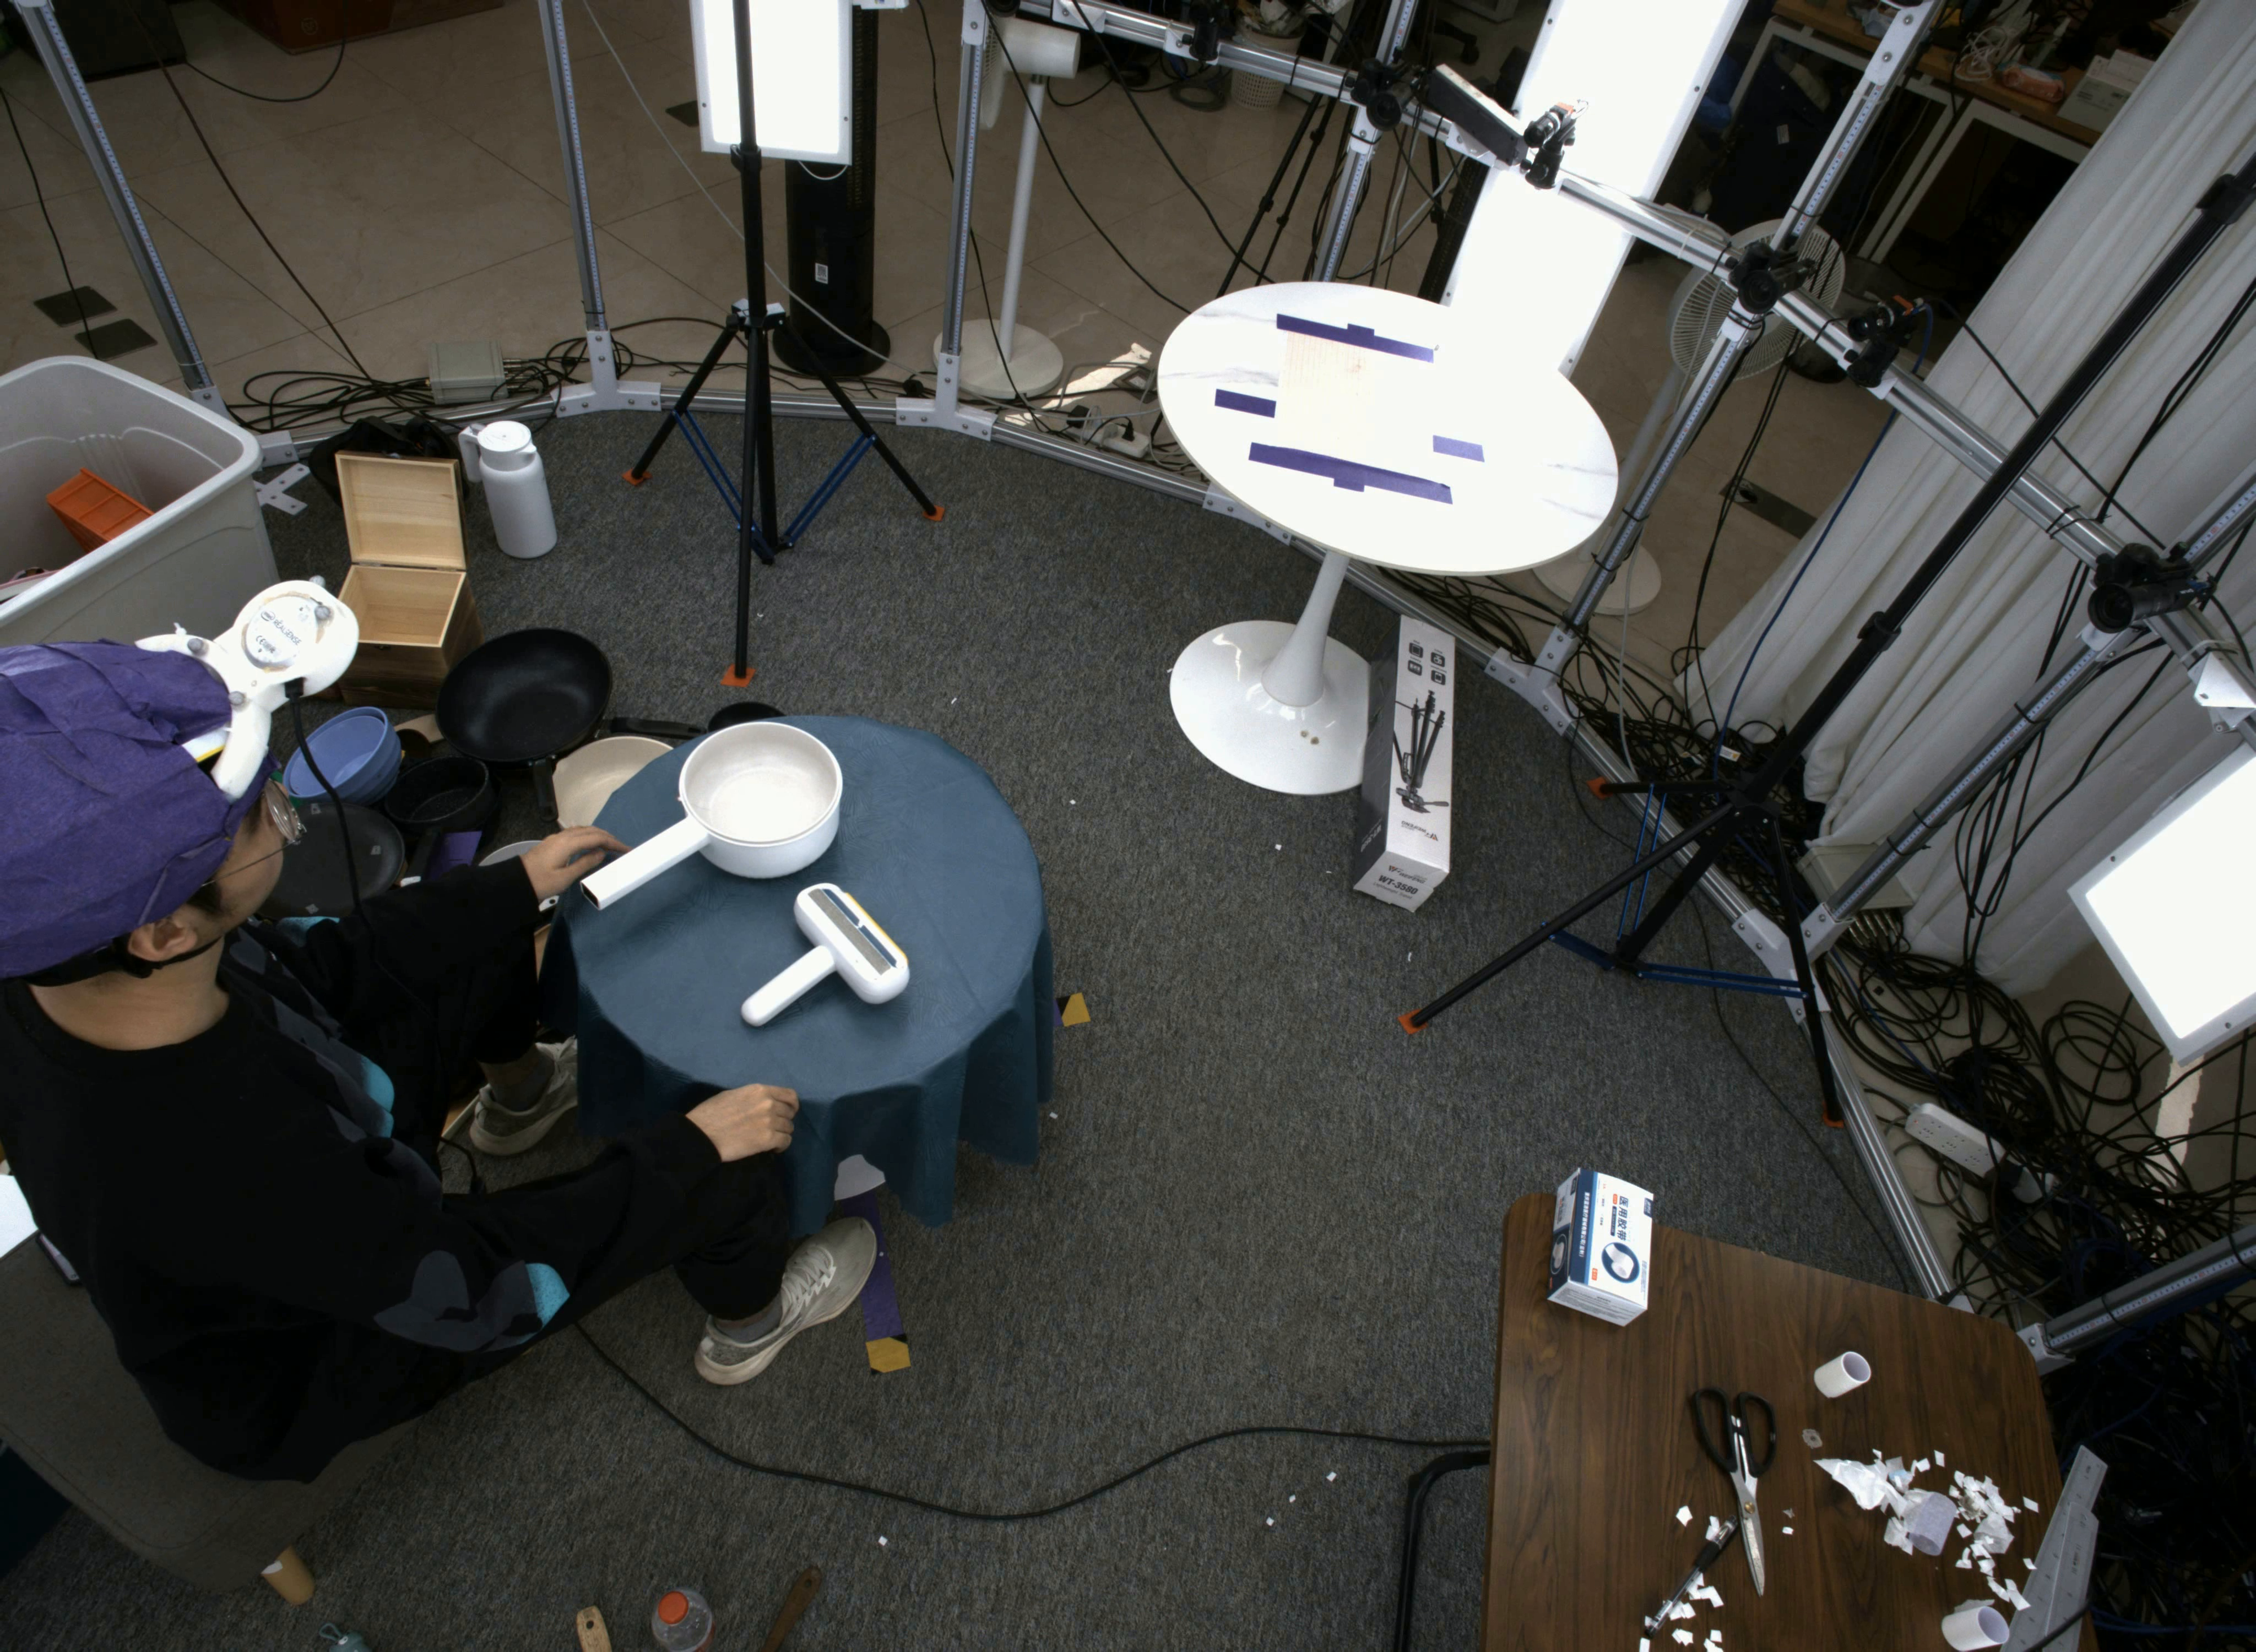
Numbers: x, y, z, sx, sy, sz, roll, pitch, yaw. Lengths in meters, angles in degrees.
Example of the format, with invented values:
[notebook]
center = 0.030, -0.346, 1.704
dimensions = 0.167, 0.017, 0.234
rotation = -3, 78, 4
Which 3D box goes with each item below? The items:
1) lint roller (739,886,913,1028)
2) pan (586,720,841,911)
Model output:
[lint roller]
center = -0.382, 0.174, 1.569
dimensions = 0.193, 0.076, 0.187
rotation = -27, 59, -28
[pan]
center = -0.522, 0.010, 1.630
dimensions = 0.197, 0.104, 0.355
rotation = 40, 55, 16
